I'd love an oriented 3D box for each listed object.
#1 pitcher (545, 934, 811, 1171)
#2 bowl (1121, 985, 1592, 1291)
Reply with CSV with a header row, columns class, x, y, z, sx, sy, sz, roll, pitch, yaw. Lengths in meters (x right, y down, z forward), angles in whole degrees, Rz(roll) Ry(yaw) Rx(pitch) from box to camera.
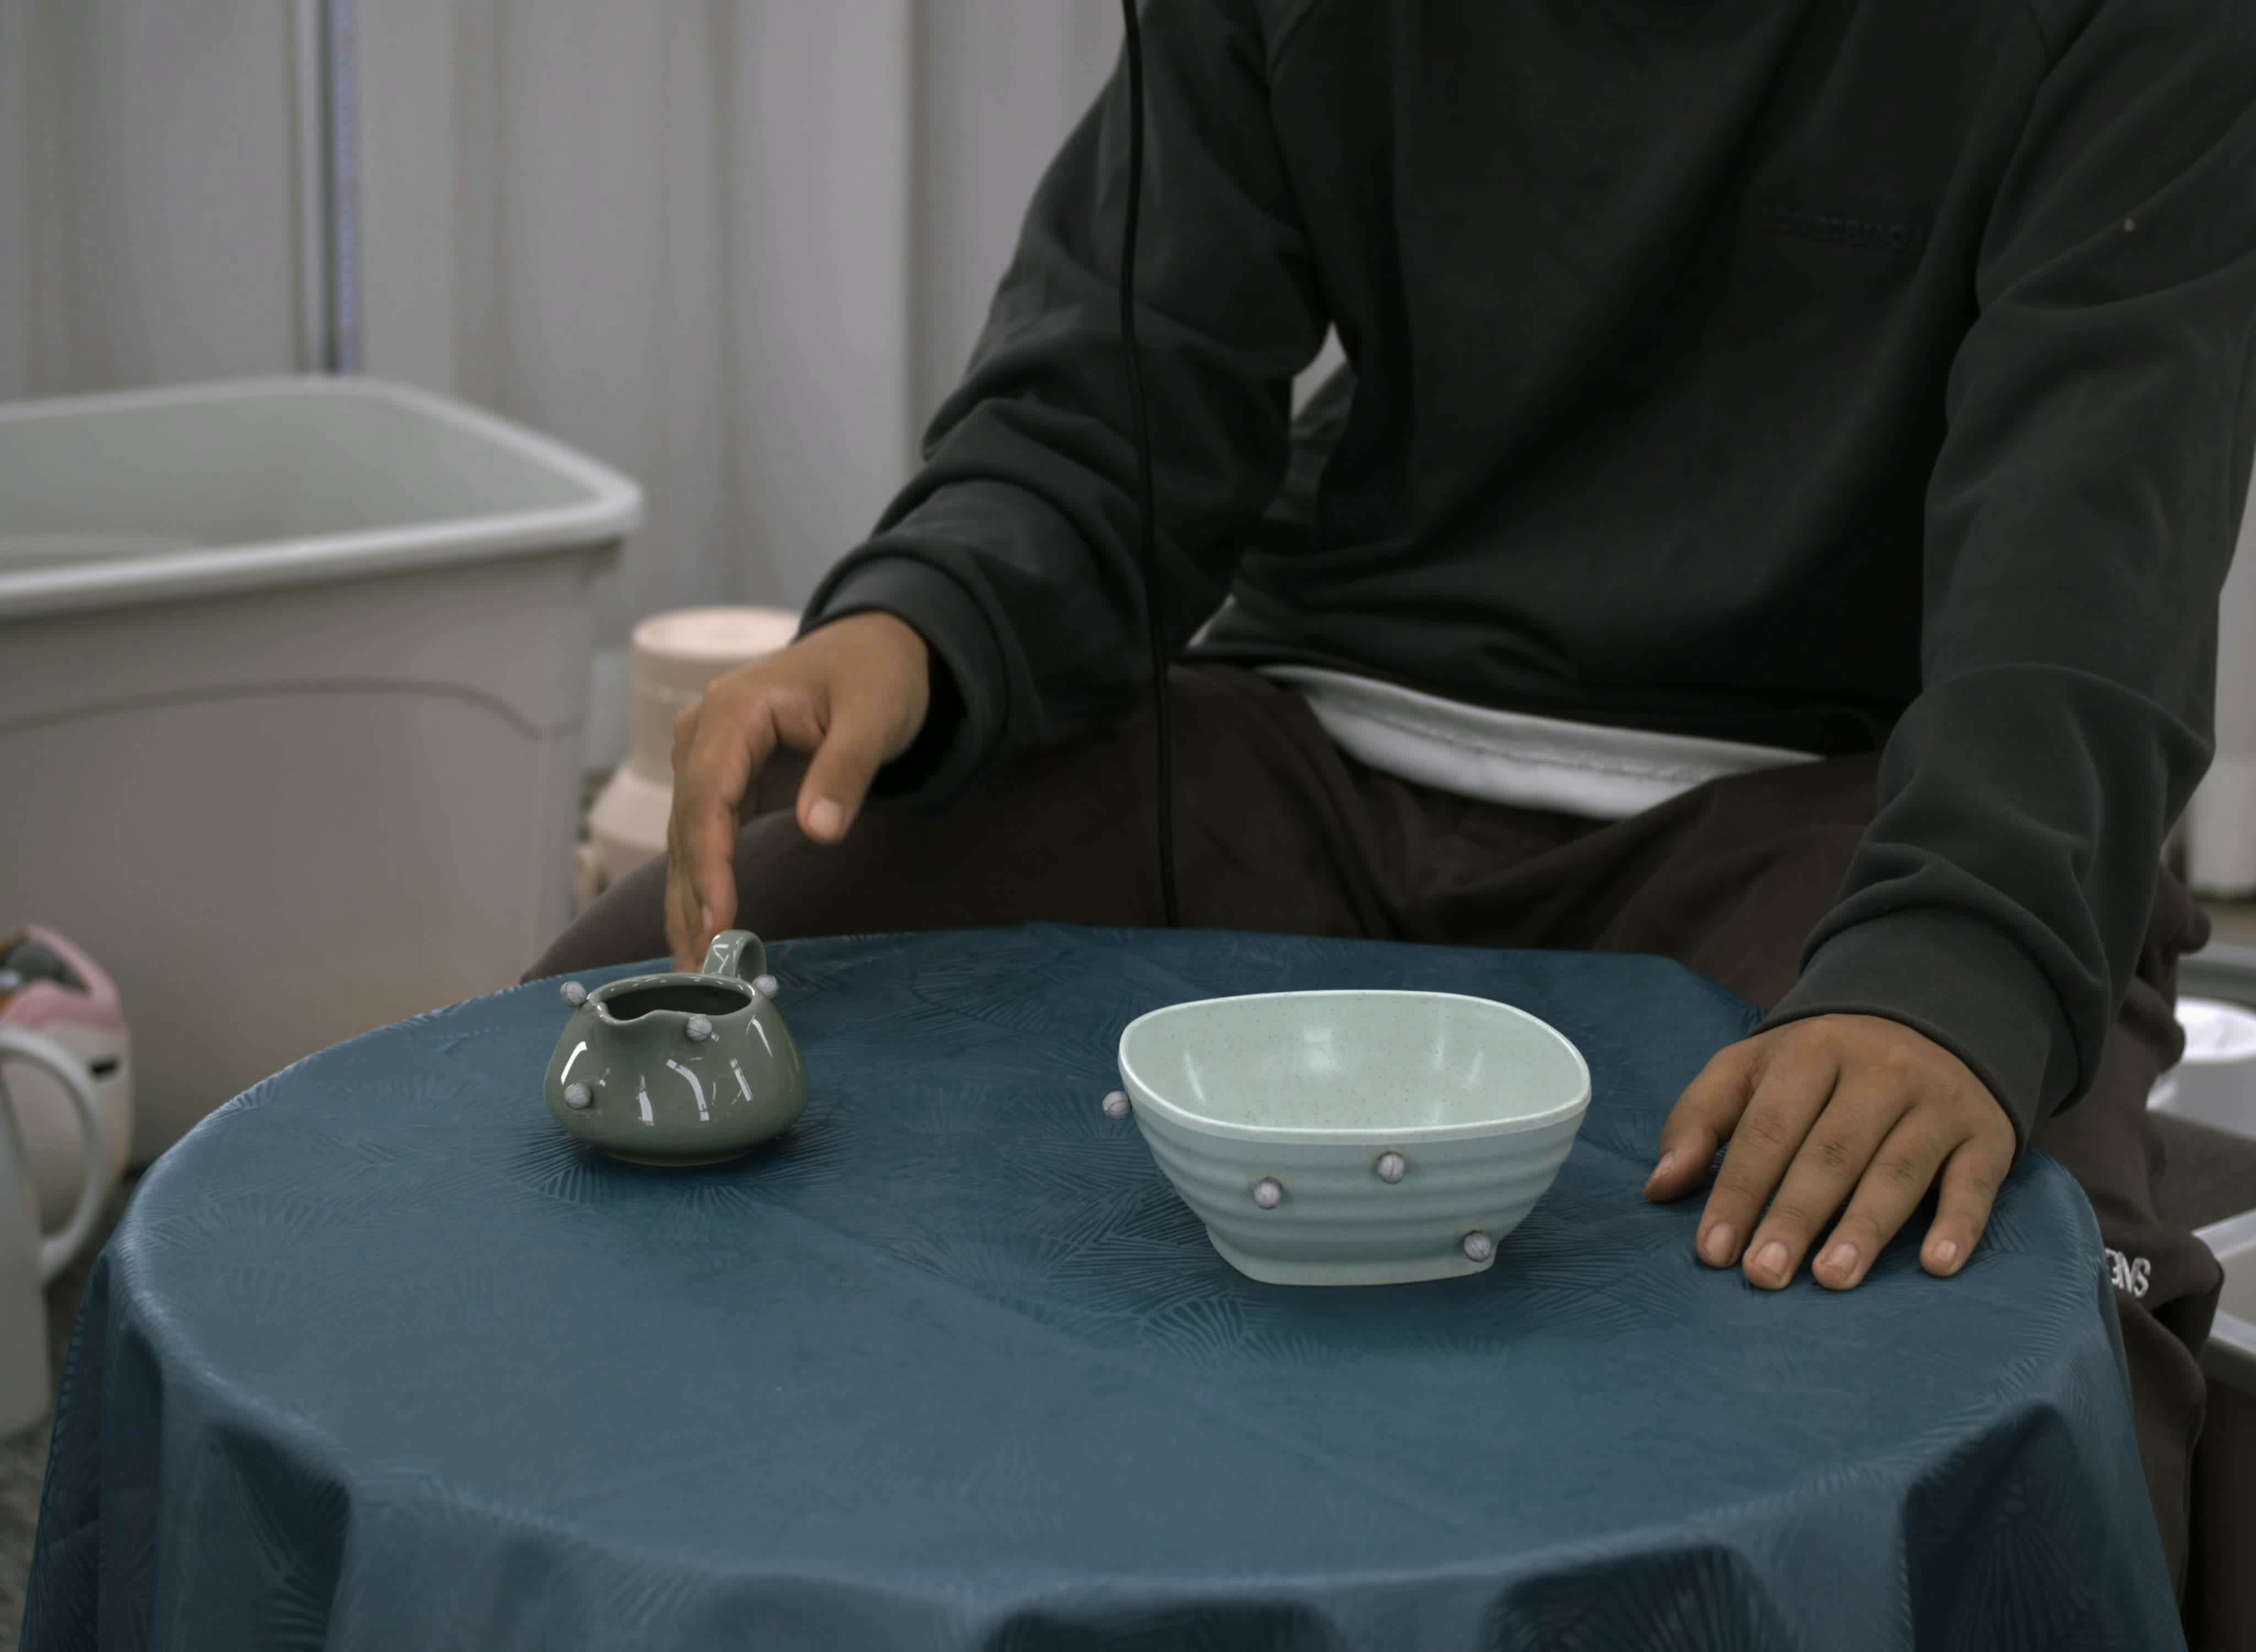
class,x,y,z,sx,sy,sz,roll,pitch,yaw
pitcher,-0.140,0.072,1.664,0.083,0.056,0.112,6,15,15
bowl,0.068,0.097,1.582,0.151,0.059,0.150,1,17,0
